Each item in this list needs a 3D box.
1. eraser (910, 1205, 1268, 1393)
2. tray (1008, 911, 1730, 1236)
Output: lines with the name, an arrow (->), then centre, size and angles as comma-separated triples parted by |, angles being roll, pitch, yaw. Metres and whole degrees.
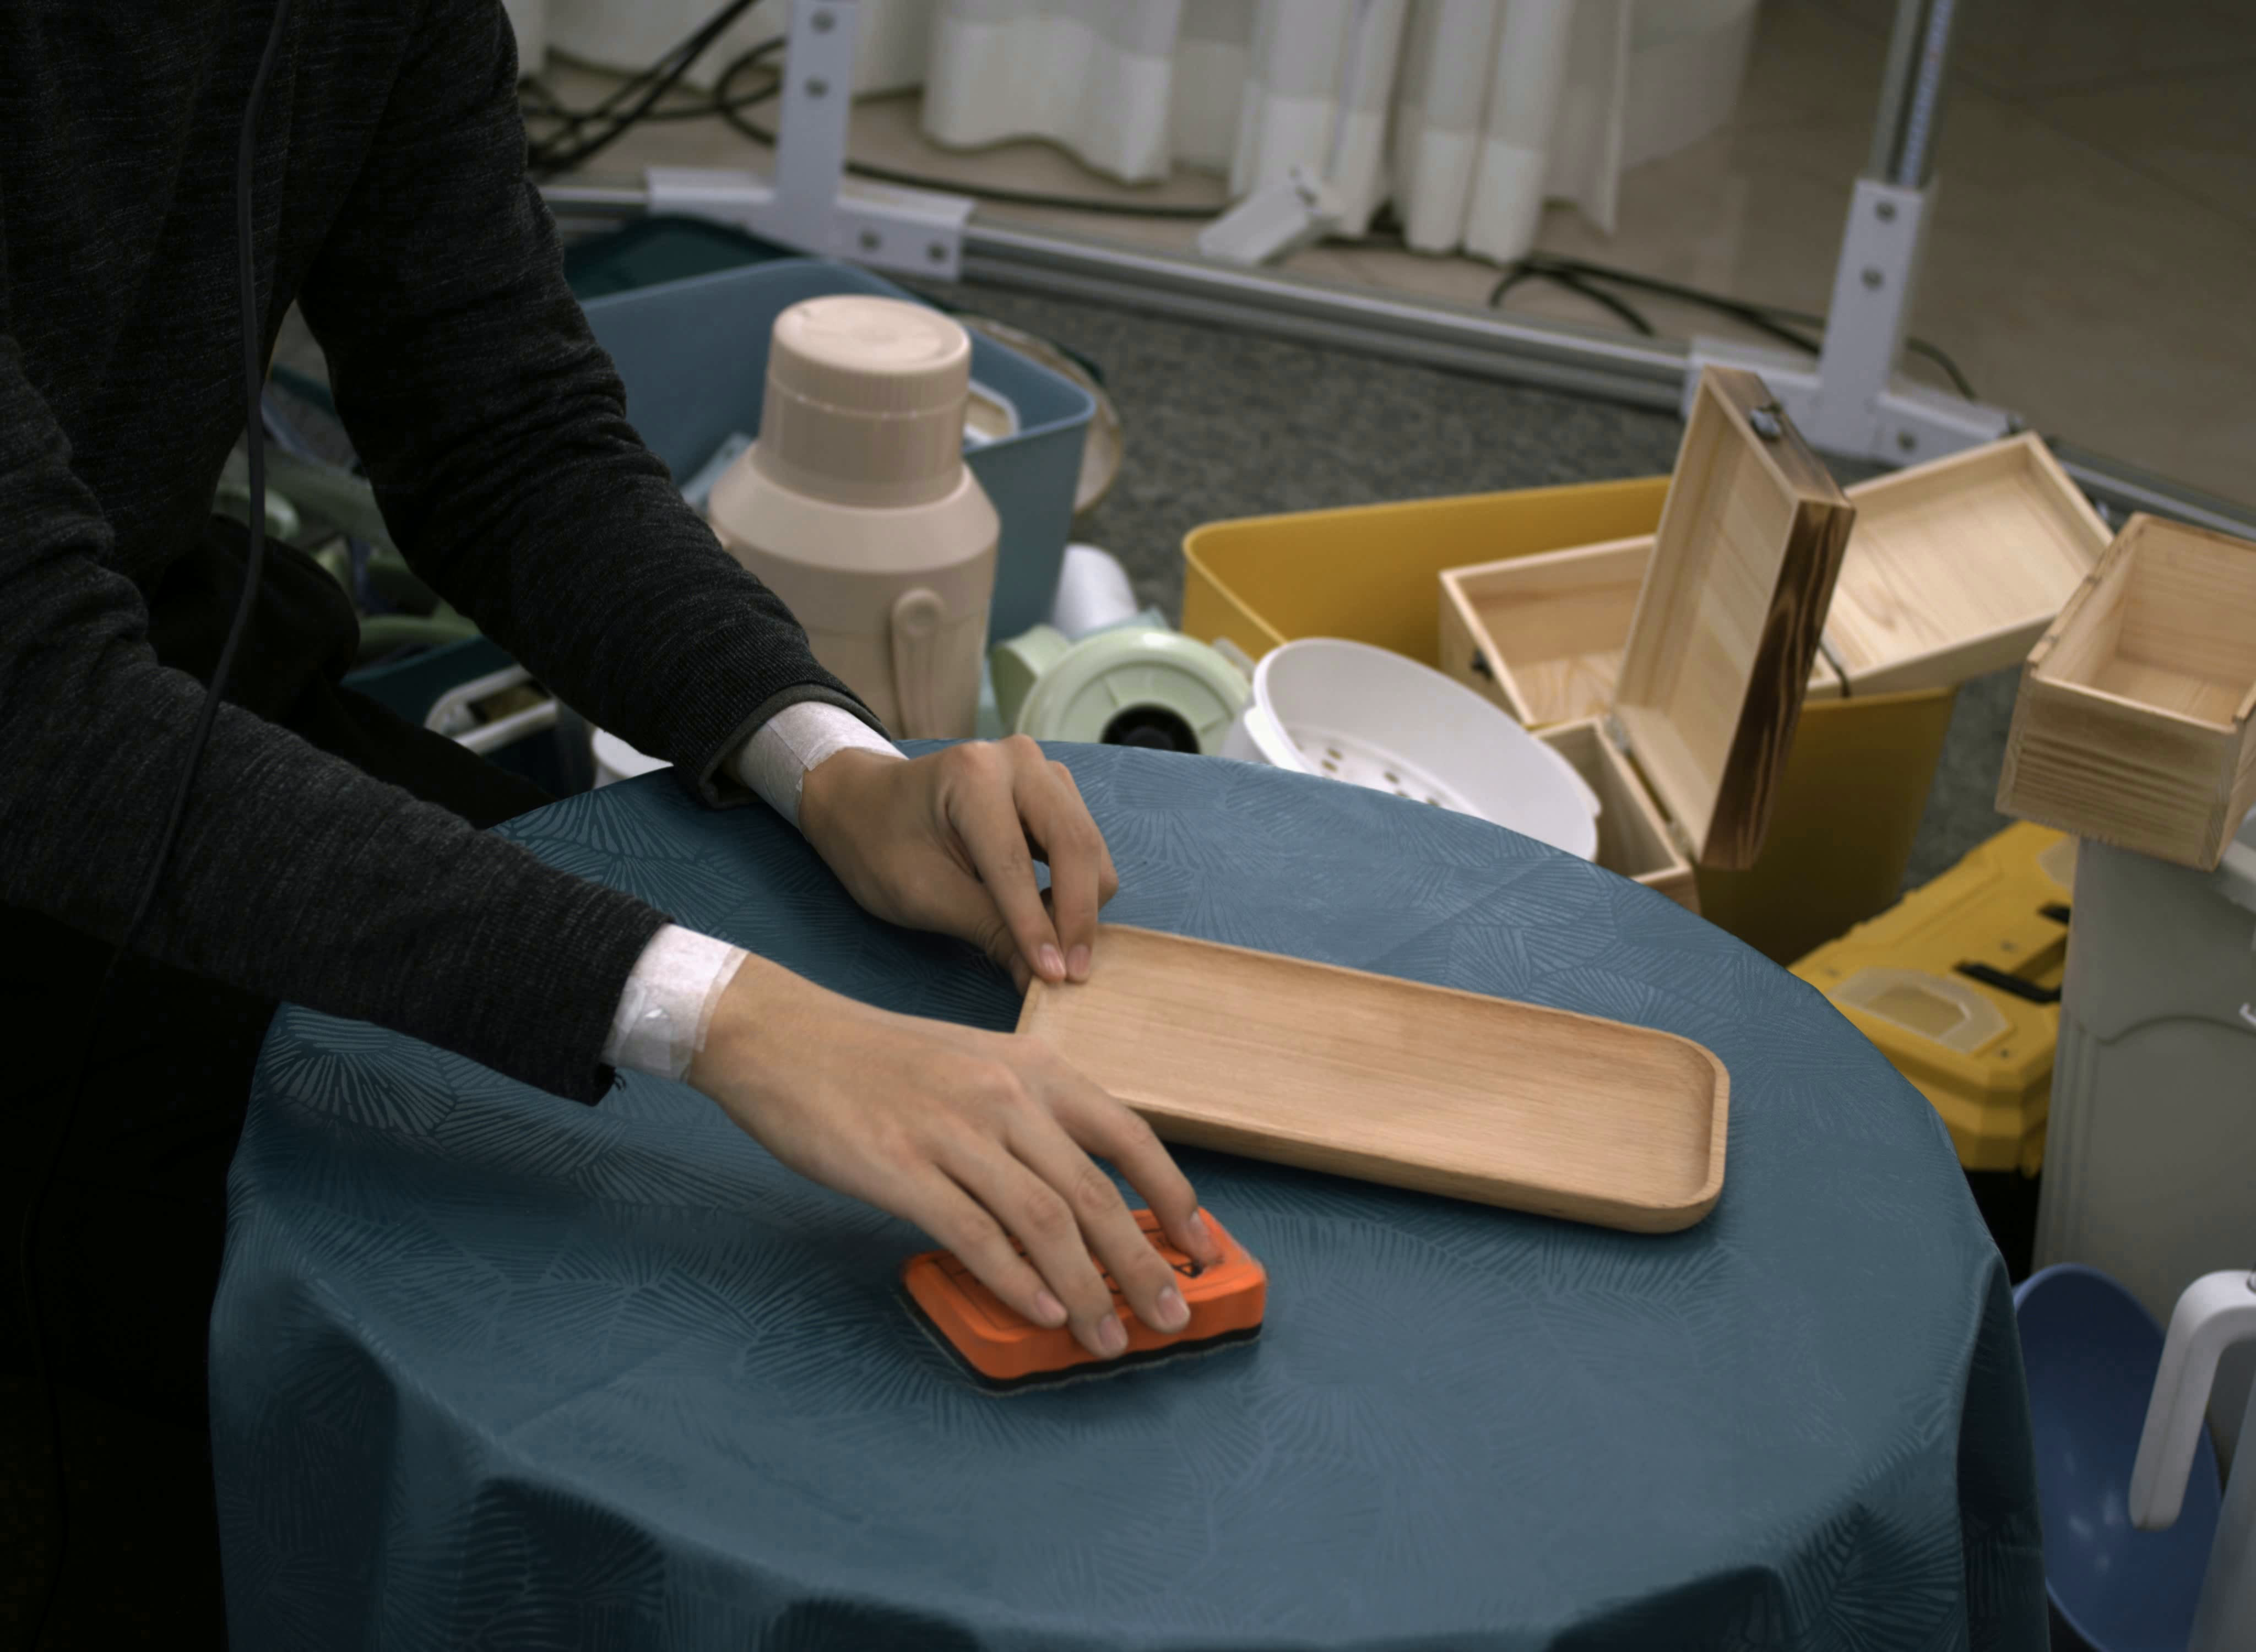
eraser -> -0.012, 0.152, 1.717 | 0.107, 0.023, 0.059 | -8, 28, -27
tray -> 0.085, 0.086, 1.862 | 0.250, 0.023, 0.131 | 11, 26, 5
